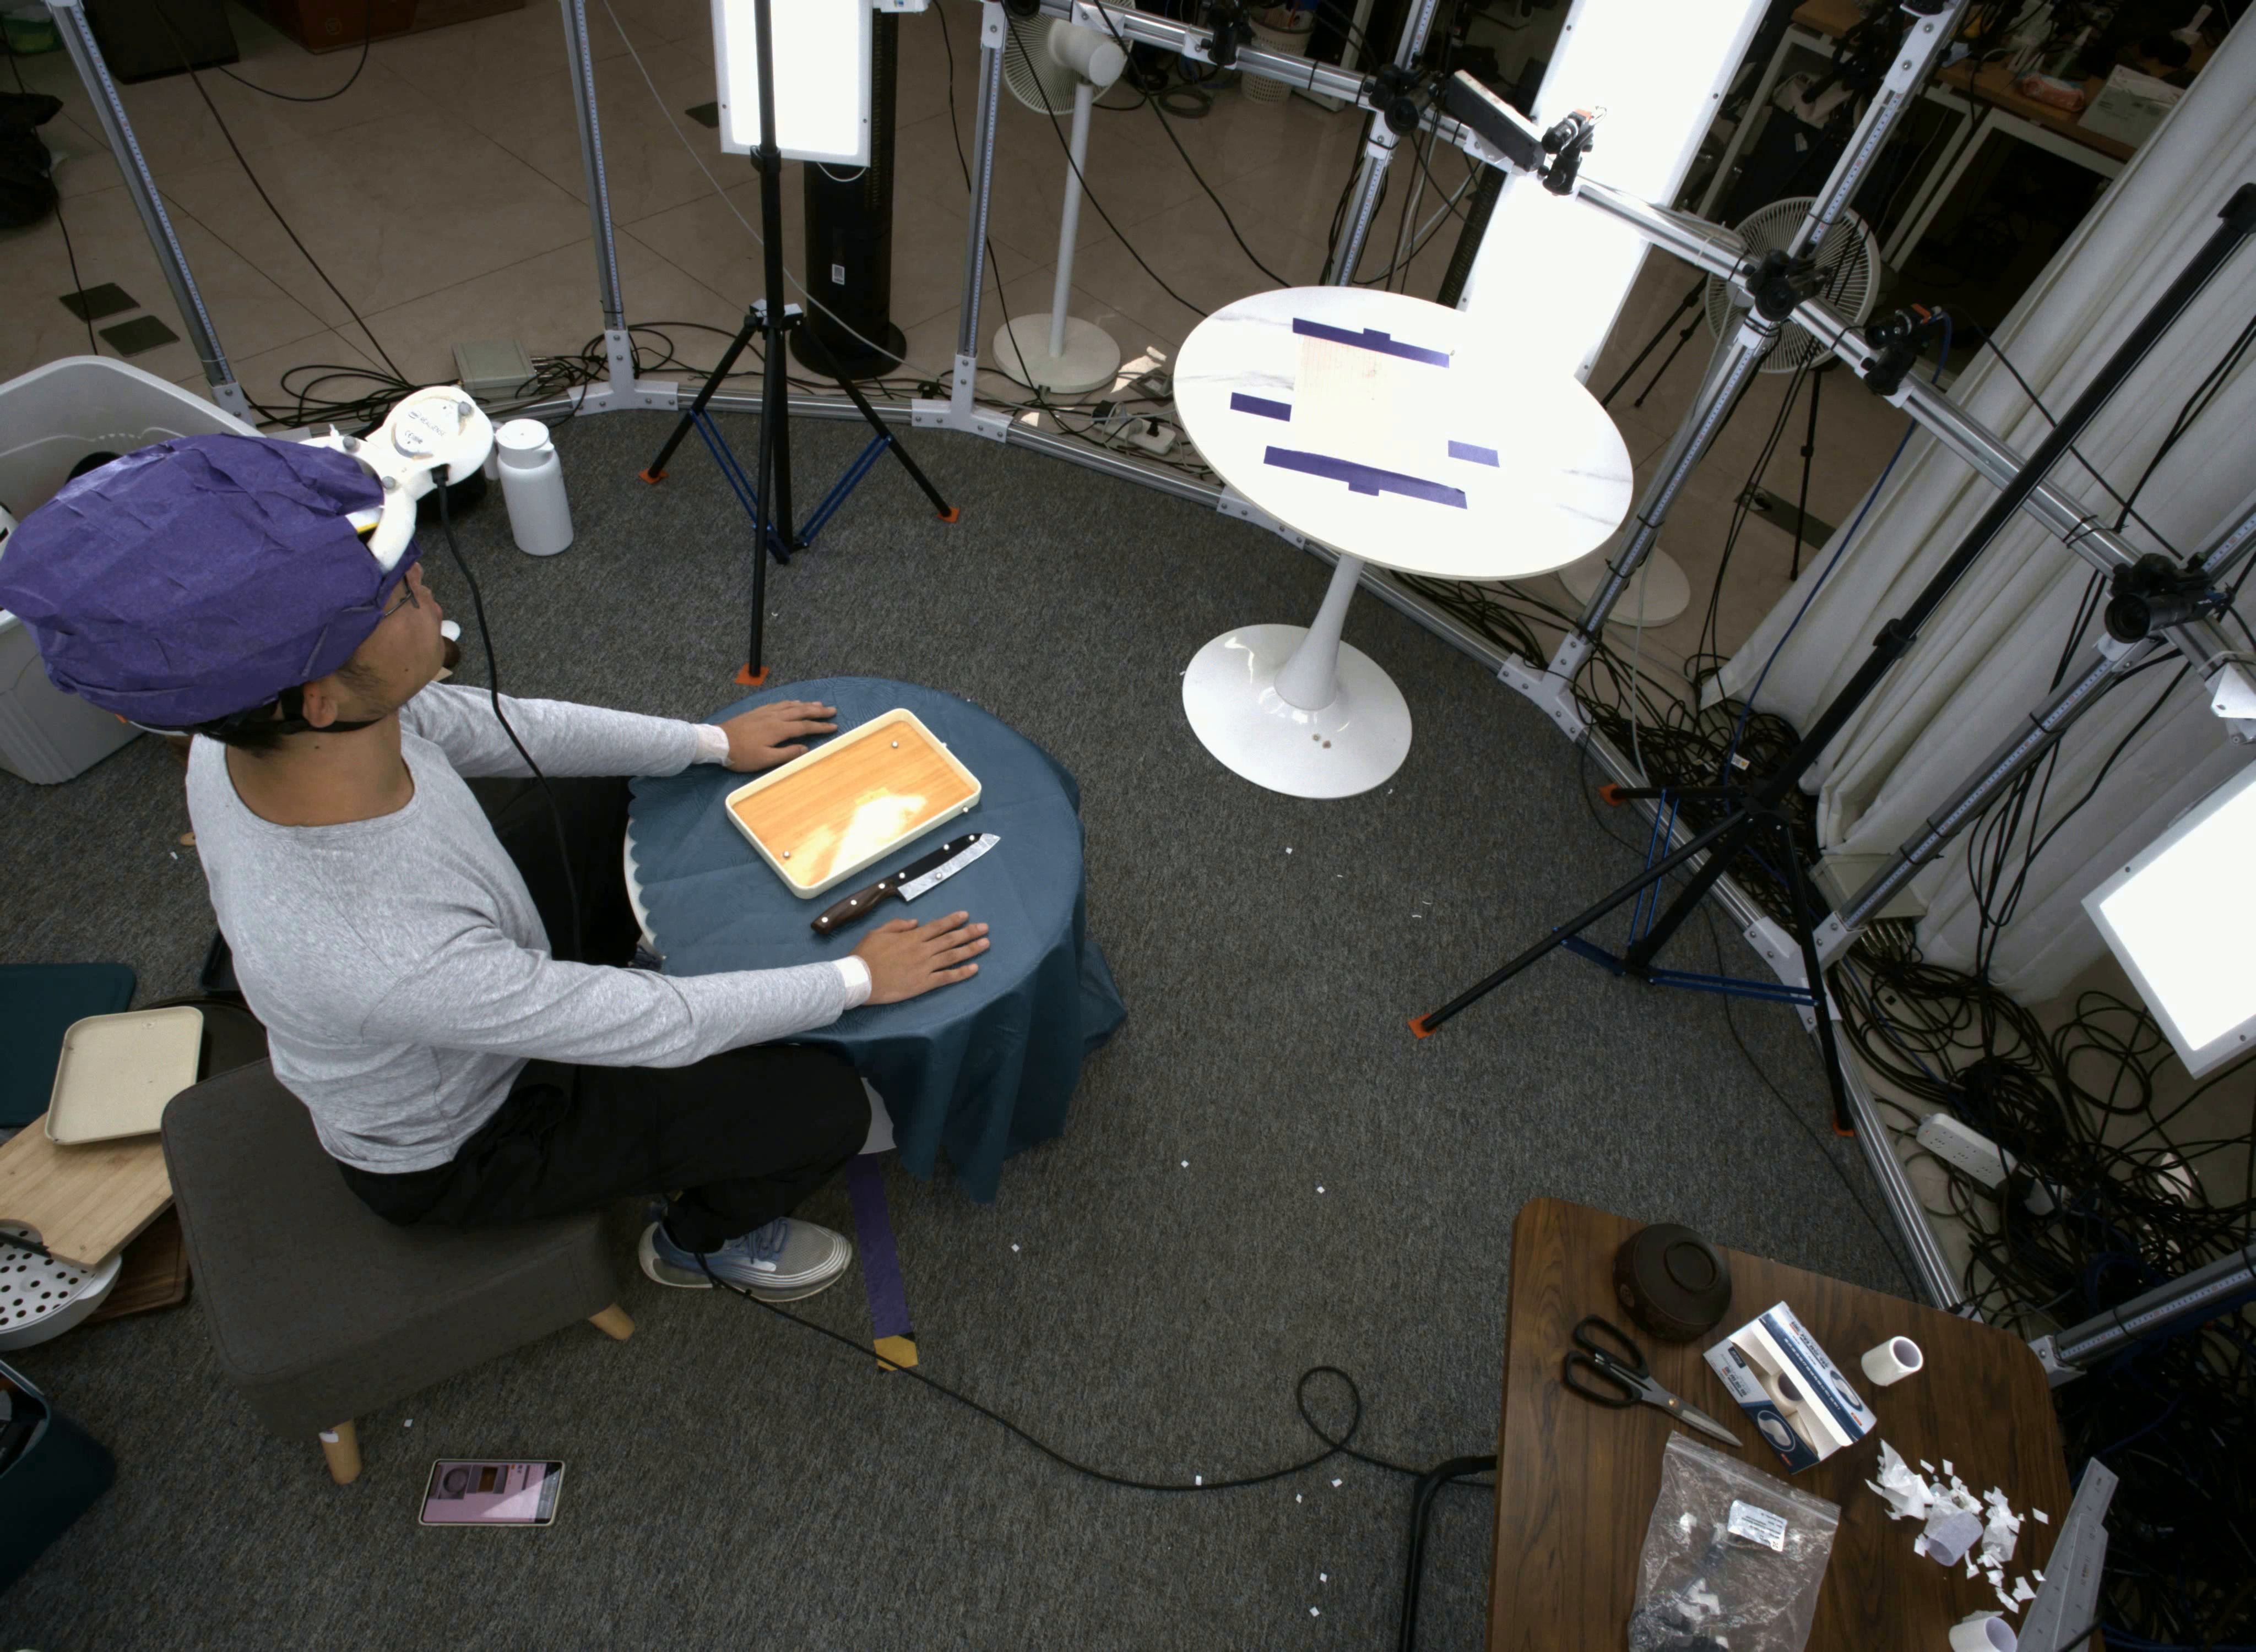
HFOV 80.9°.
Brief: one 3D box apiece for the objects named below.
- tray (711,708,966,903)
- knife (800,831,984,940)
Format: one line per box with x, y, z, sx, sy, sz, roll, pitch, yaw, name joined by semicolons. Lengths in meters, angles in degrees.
-0.387;-0.035;1.753;0.301;0.028;0.187;-34;68;-32;tray
-0.303;0.072;1.704;0.290;0.020;0.049;-31;71;-33;knife
